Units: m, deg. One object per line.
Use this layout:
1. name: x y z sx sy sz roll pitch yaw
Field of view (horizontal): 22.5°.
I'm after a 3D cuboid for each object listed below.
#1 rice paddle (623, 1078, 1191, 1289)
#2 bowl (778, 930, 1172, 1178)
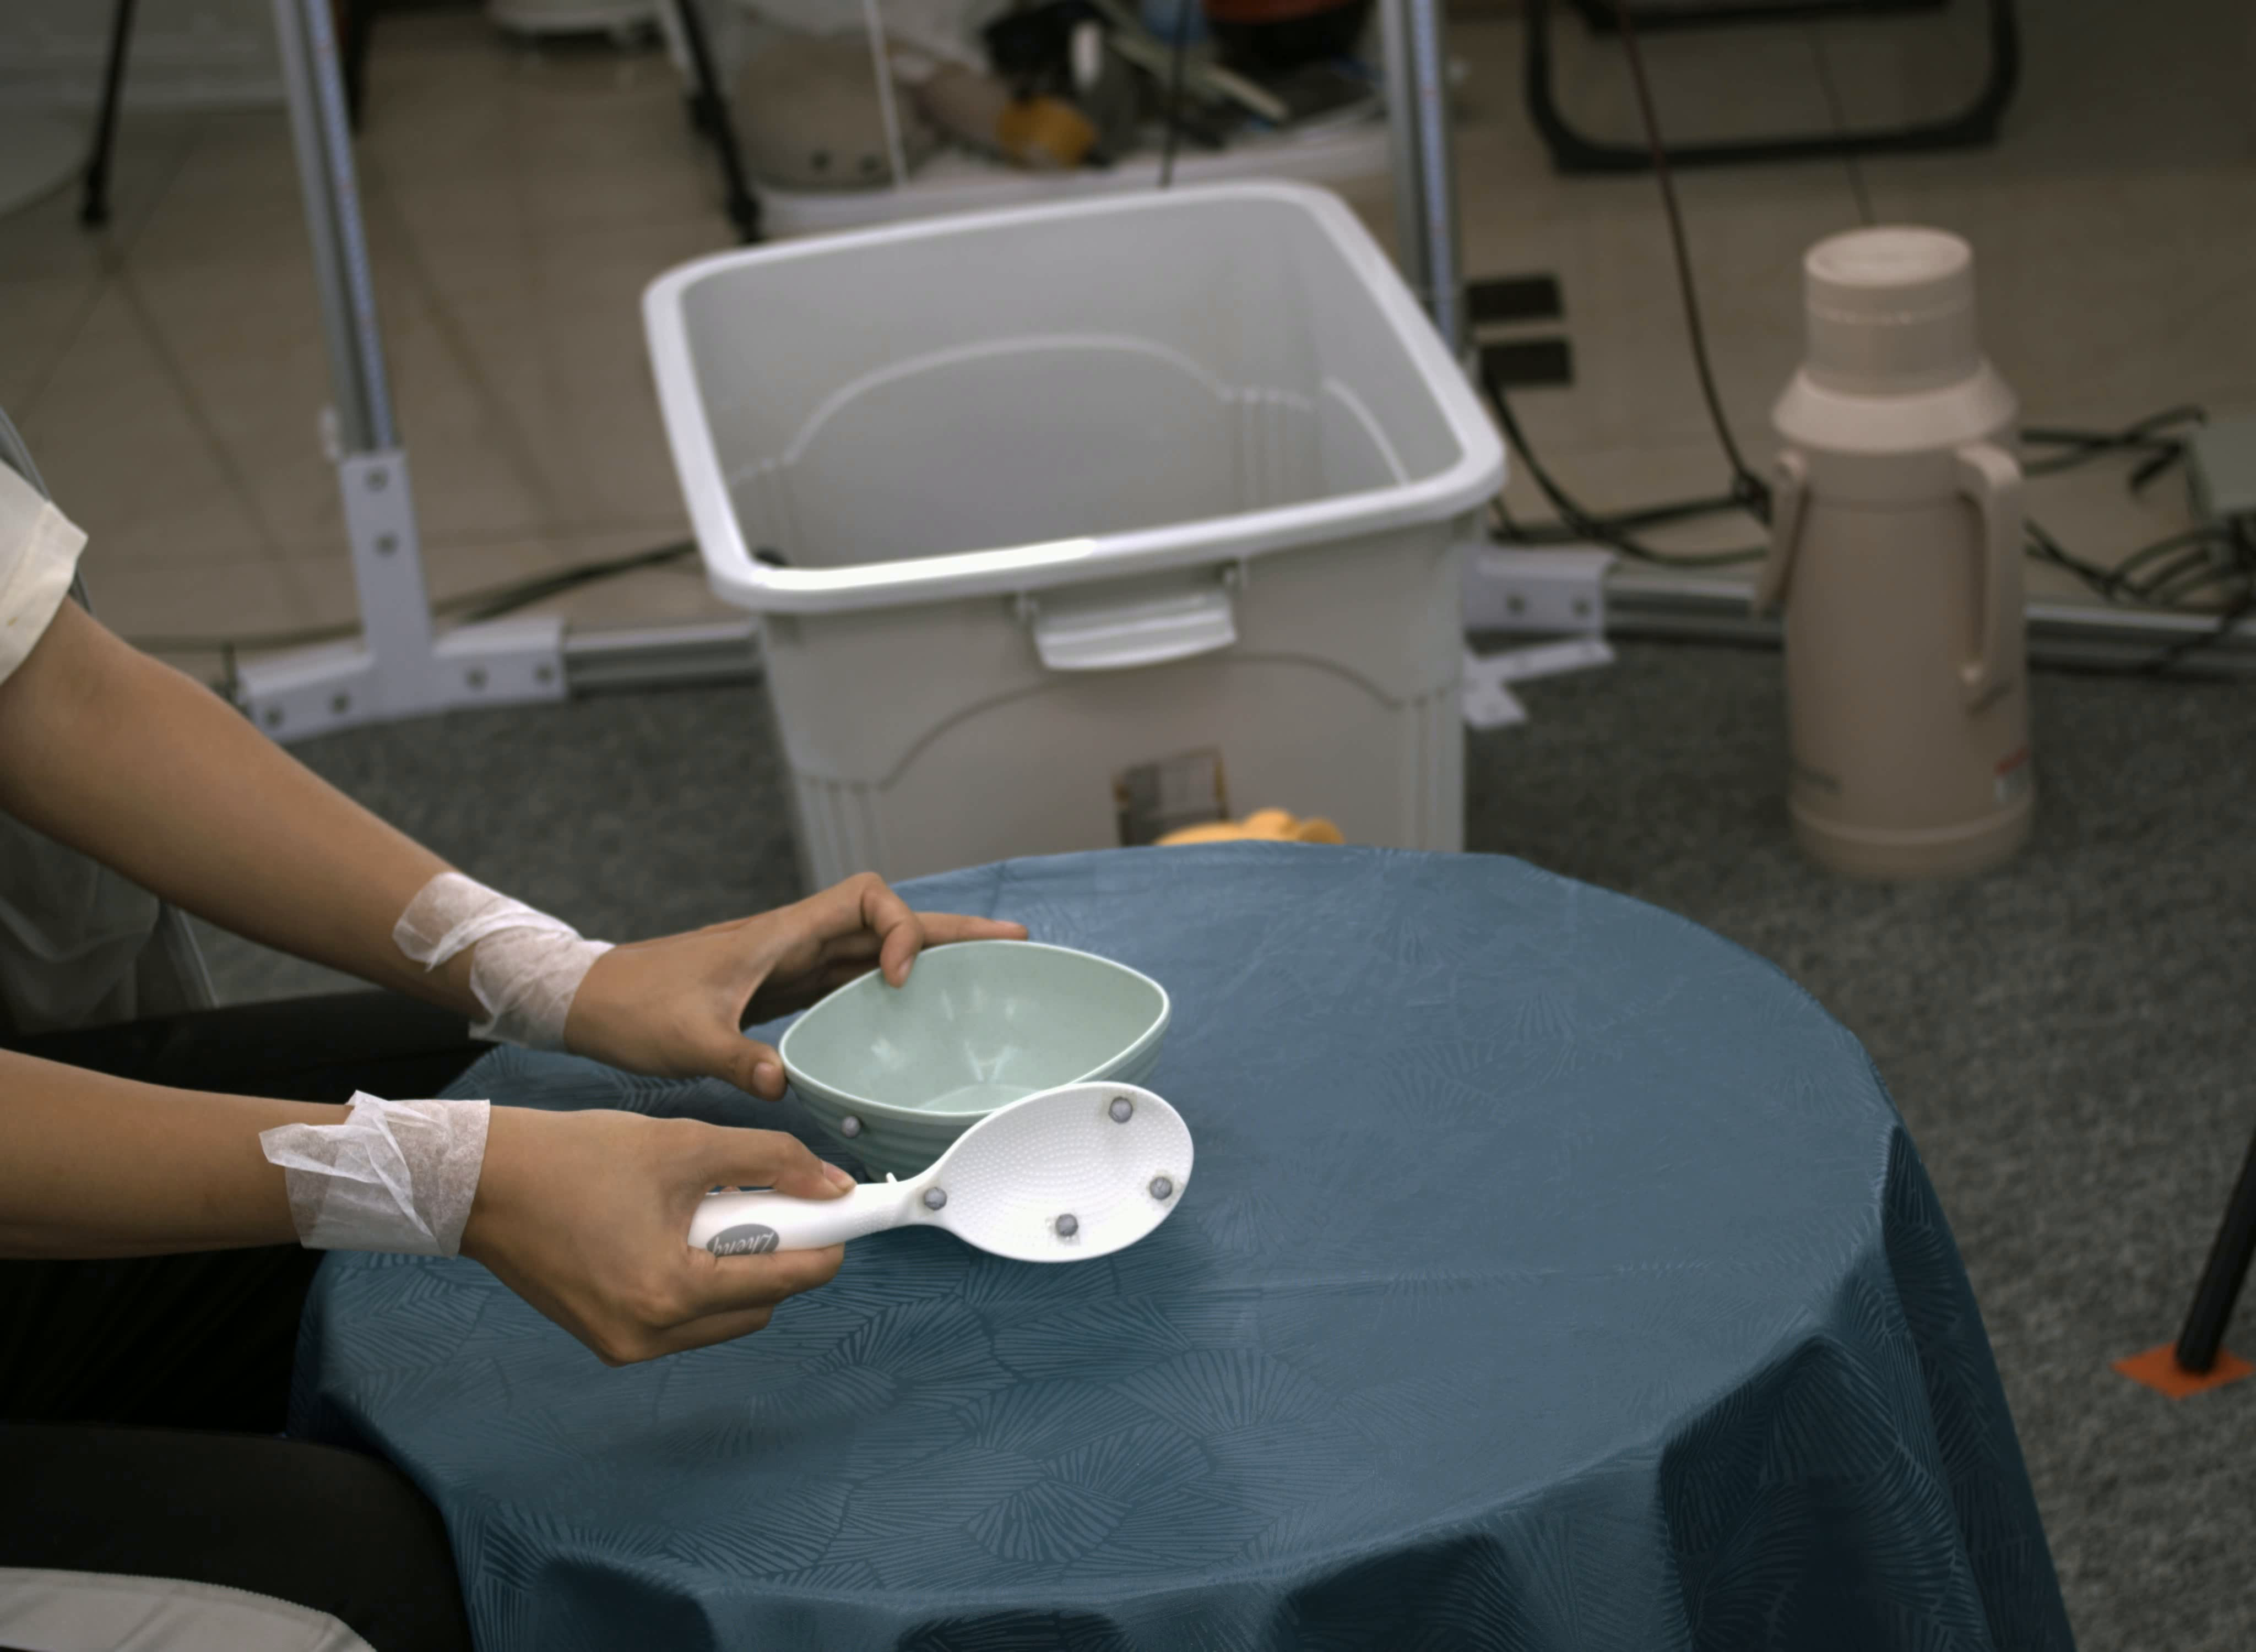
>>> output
1. rice paddle: -0.076 0.131 2.016 0.205 0.070 0.029 -9 26 -10
2. bowl: -0.057 0.100 2.179 0.151 0.059 0.149 -4 27 2
